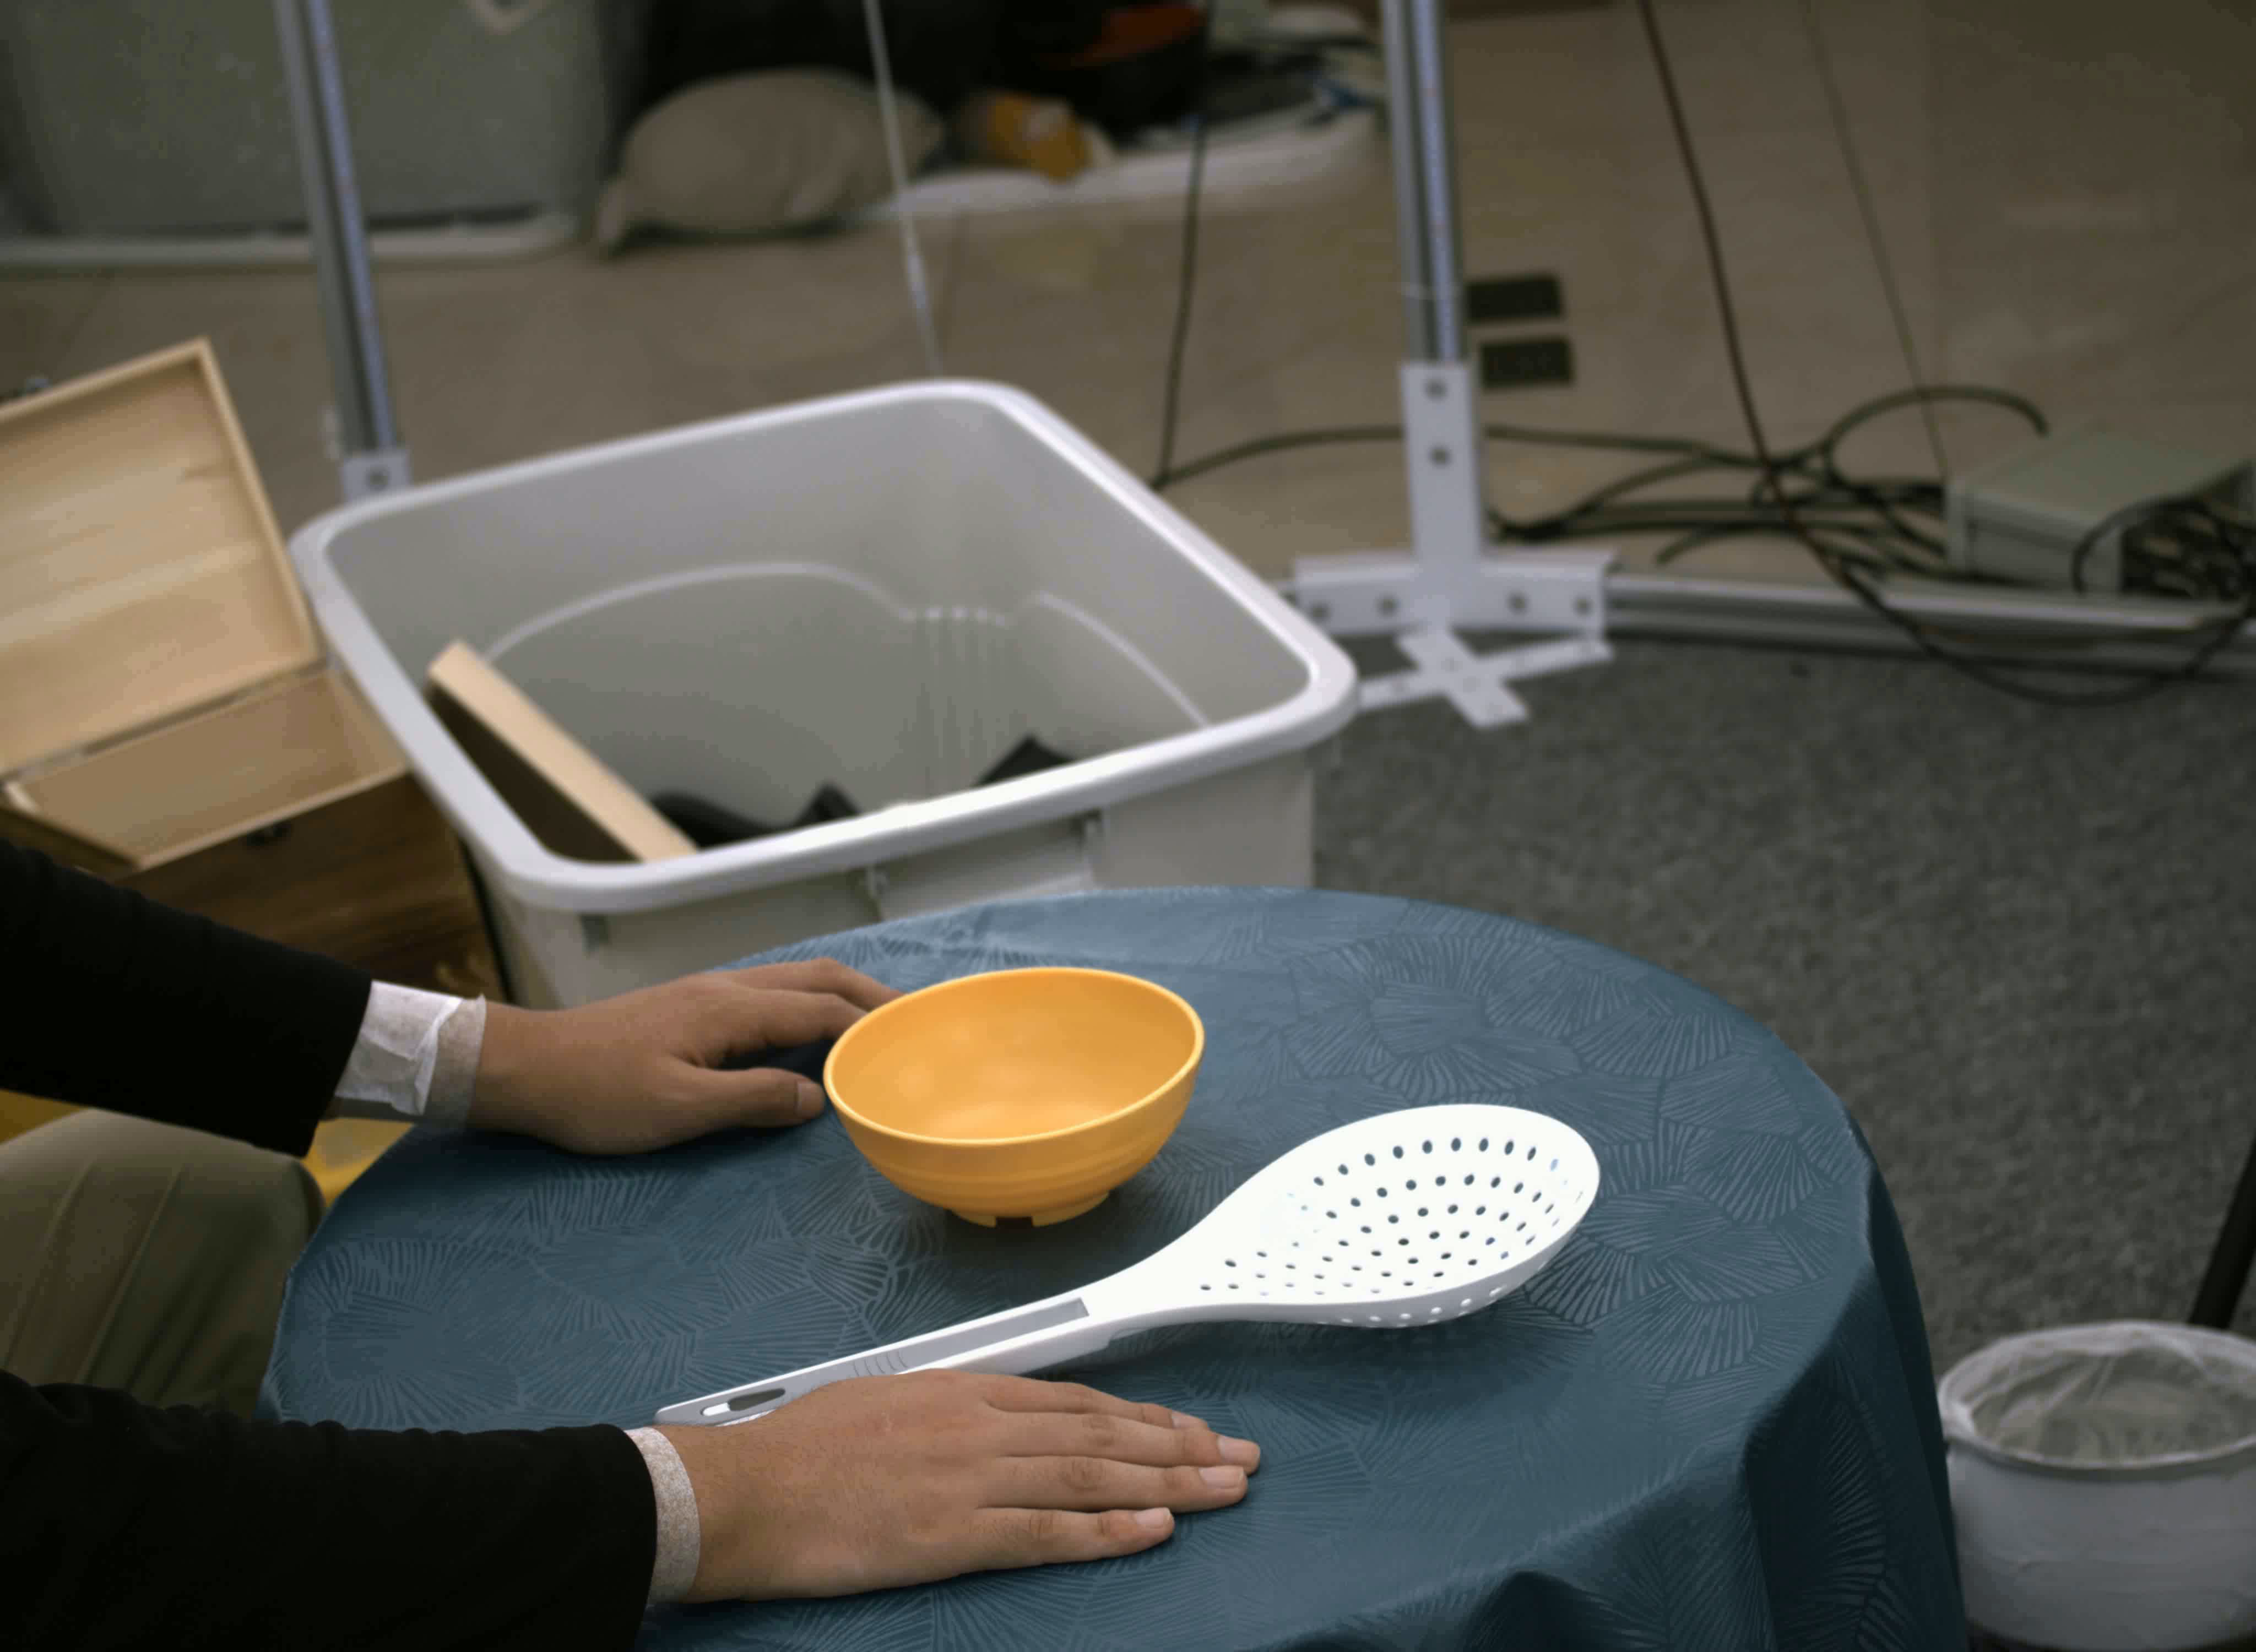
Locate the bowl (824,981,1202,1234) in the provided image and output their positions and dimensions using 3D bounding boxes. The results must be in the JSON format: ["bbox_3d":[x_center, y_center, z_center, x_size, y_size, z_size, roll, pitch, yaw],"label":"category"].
[{"bbox_3d":[-0.041,0.113,2.146,0.145,0.061,0.143,-5,23,2],"label":"bowl"}]

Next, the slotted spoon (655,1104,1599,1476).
[{"bbox_3d":[0.001,0.171,2.024,0.349,0.046,0.134,-12,25,-10],"label":"slotted spoon"}]
